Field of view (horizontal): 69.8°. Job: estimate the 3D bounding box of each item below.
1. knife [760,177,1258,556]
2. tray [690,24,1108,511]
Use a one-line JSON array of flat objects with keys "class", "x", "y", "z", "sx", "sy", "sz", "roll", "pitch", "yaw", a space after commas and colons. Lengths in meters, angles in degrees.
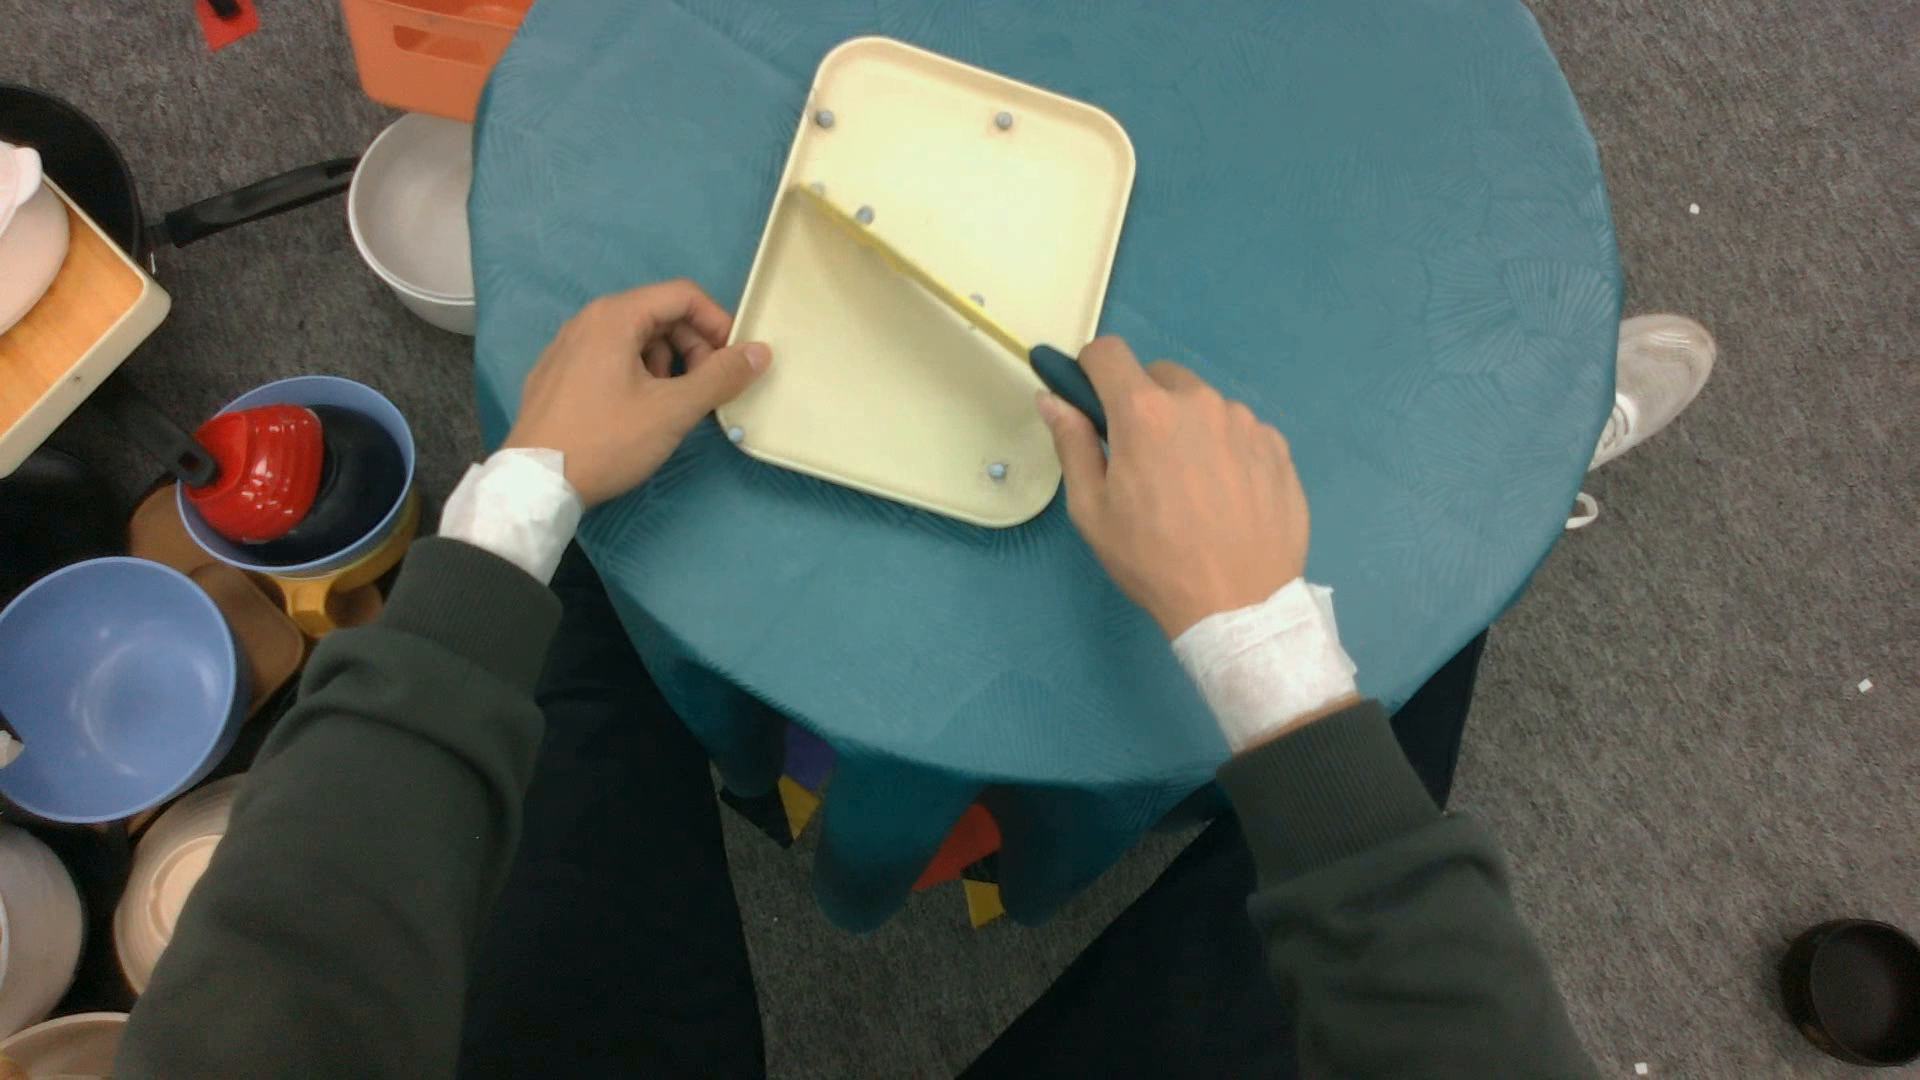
[{"class": "knife", "x": 0.015, "y": -0.086, "z": 0.631, "sx": 0.289, "sy": 0.081, "sz": 0.027, "roll": 38, "pitch": 96, "yaw": 12}, {"class": "tray", "x": -0.025, "y": -0.138, "z": 0.682, "sx": 0.171, "sy": 0.017, "sz": 0.240, "roll": 16, "pitch": 71, "yaw": -7}]
